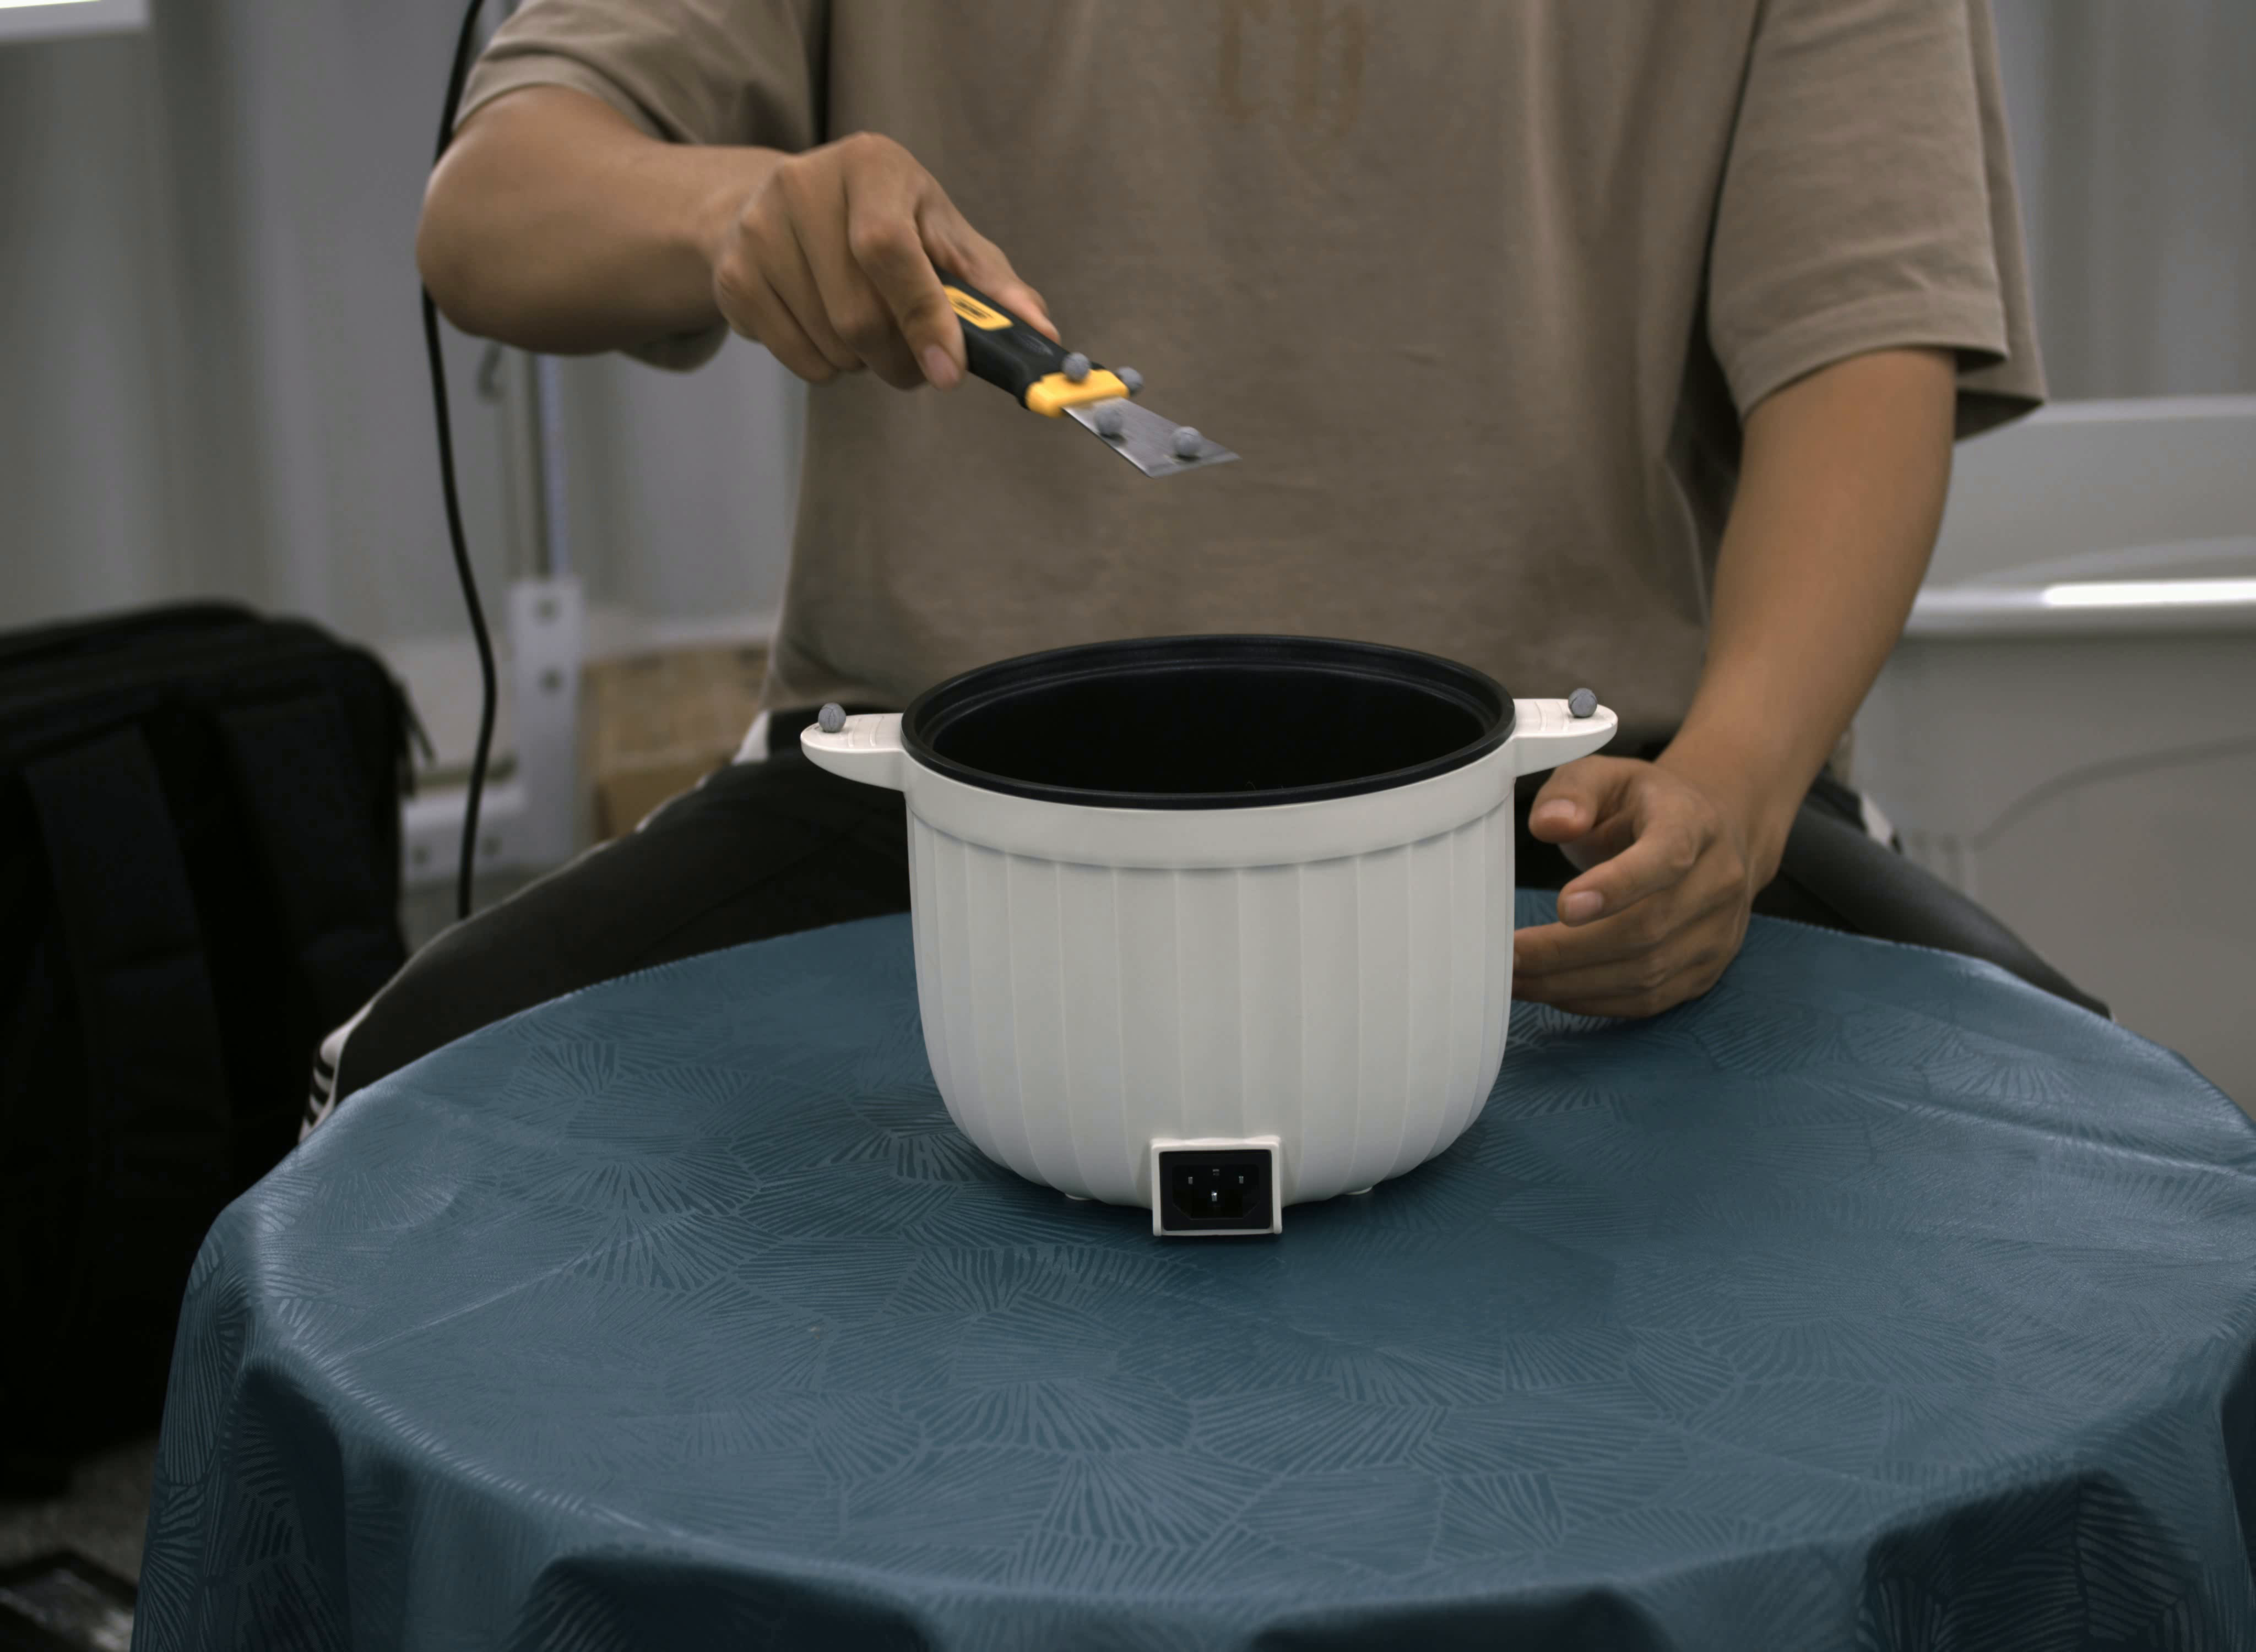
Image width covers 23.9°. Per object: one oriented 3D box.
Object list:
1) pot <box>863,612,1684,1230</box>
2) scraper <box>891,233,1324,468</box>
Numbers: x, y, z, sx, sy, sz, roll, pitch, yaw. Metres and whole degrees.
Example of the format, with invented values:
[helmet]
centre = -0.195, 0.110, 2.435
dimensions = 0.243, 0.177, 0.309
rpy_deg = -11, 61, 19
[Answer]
[pot]
centre = 0.043, 0.025, 1.576
dimensions = 0.240, 0.142, 0.191
rpy_deg = 0, 20, 2
[scraper]
centre = -0.012, -0.142, 1.582
dimensions = 0.038, 0.015, 0.175
rpy_deg = -22, 38, -33
